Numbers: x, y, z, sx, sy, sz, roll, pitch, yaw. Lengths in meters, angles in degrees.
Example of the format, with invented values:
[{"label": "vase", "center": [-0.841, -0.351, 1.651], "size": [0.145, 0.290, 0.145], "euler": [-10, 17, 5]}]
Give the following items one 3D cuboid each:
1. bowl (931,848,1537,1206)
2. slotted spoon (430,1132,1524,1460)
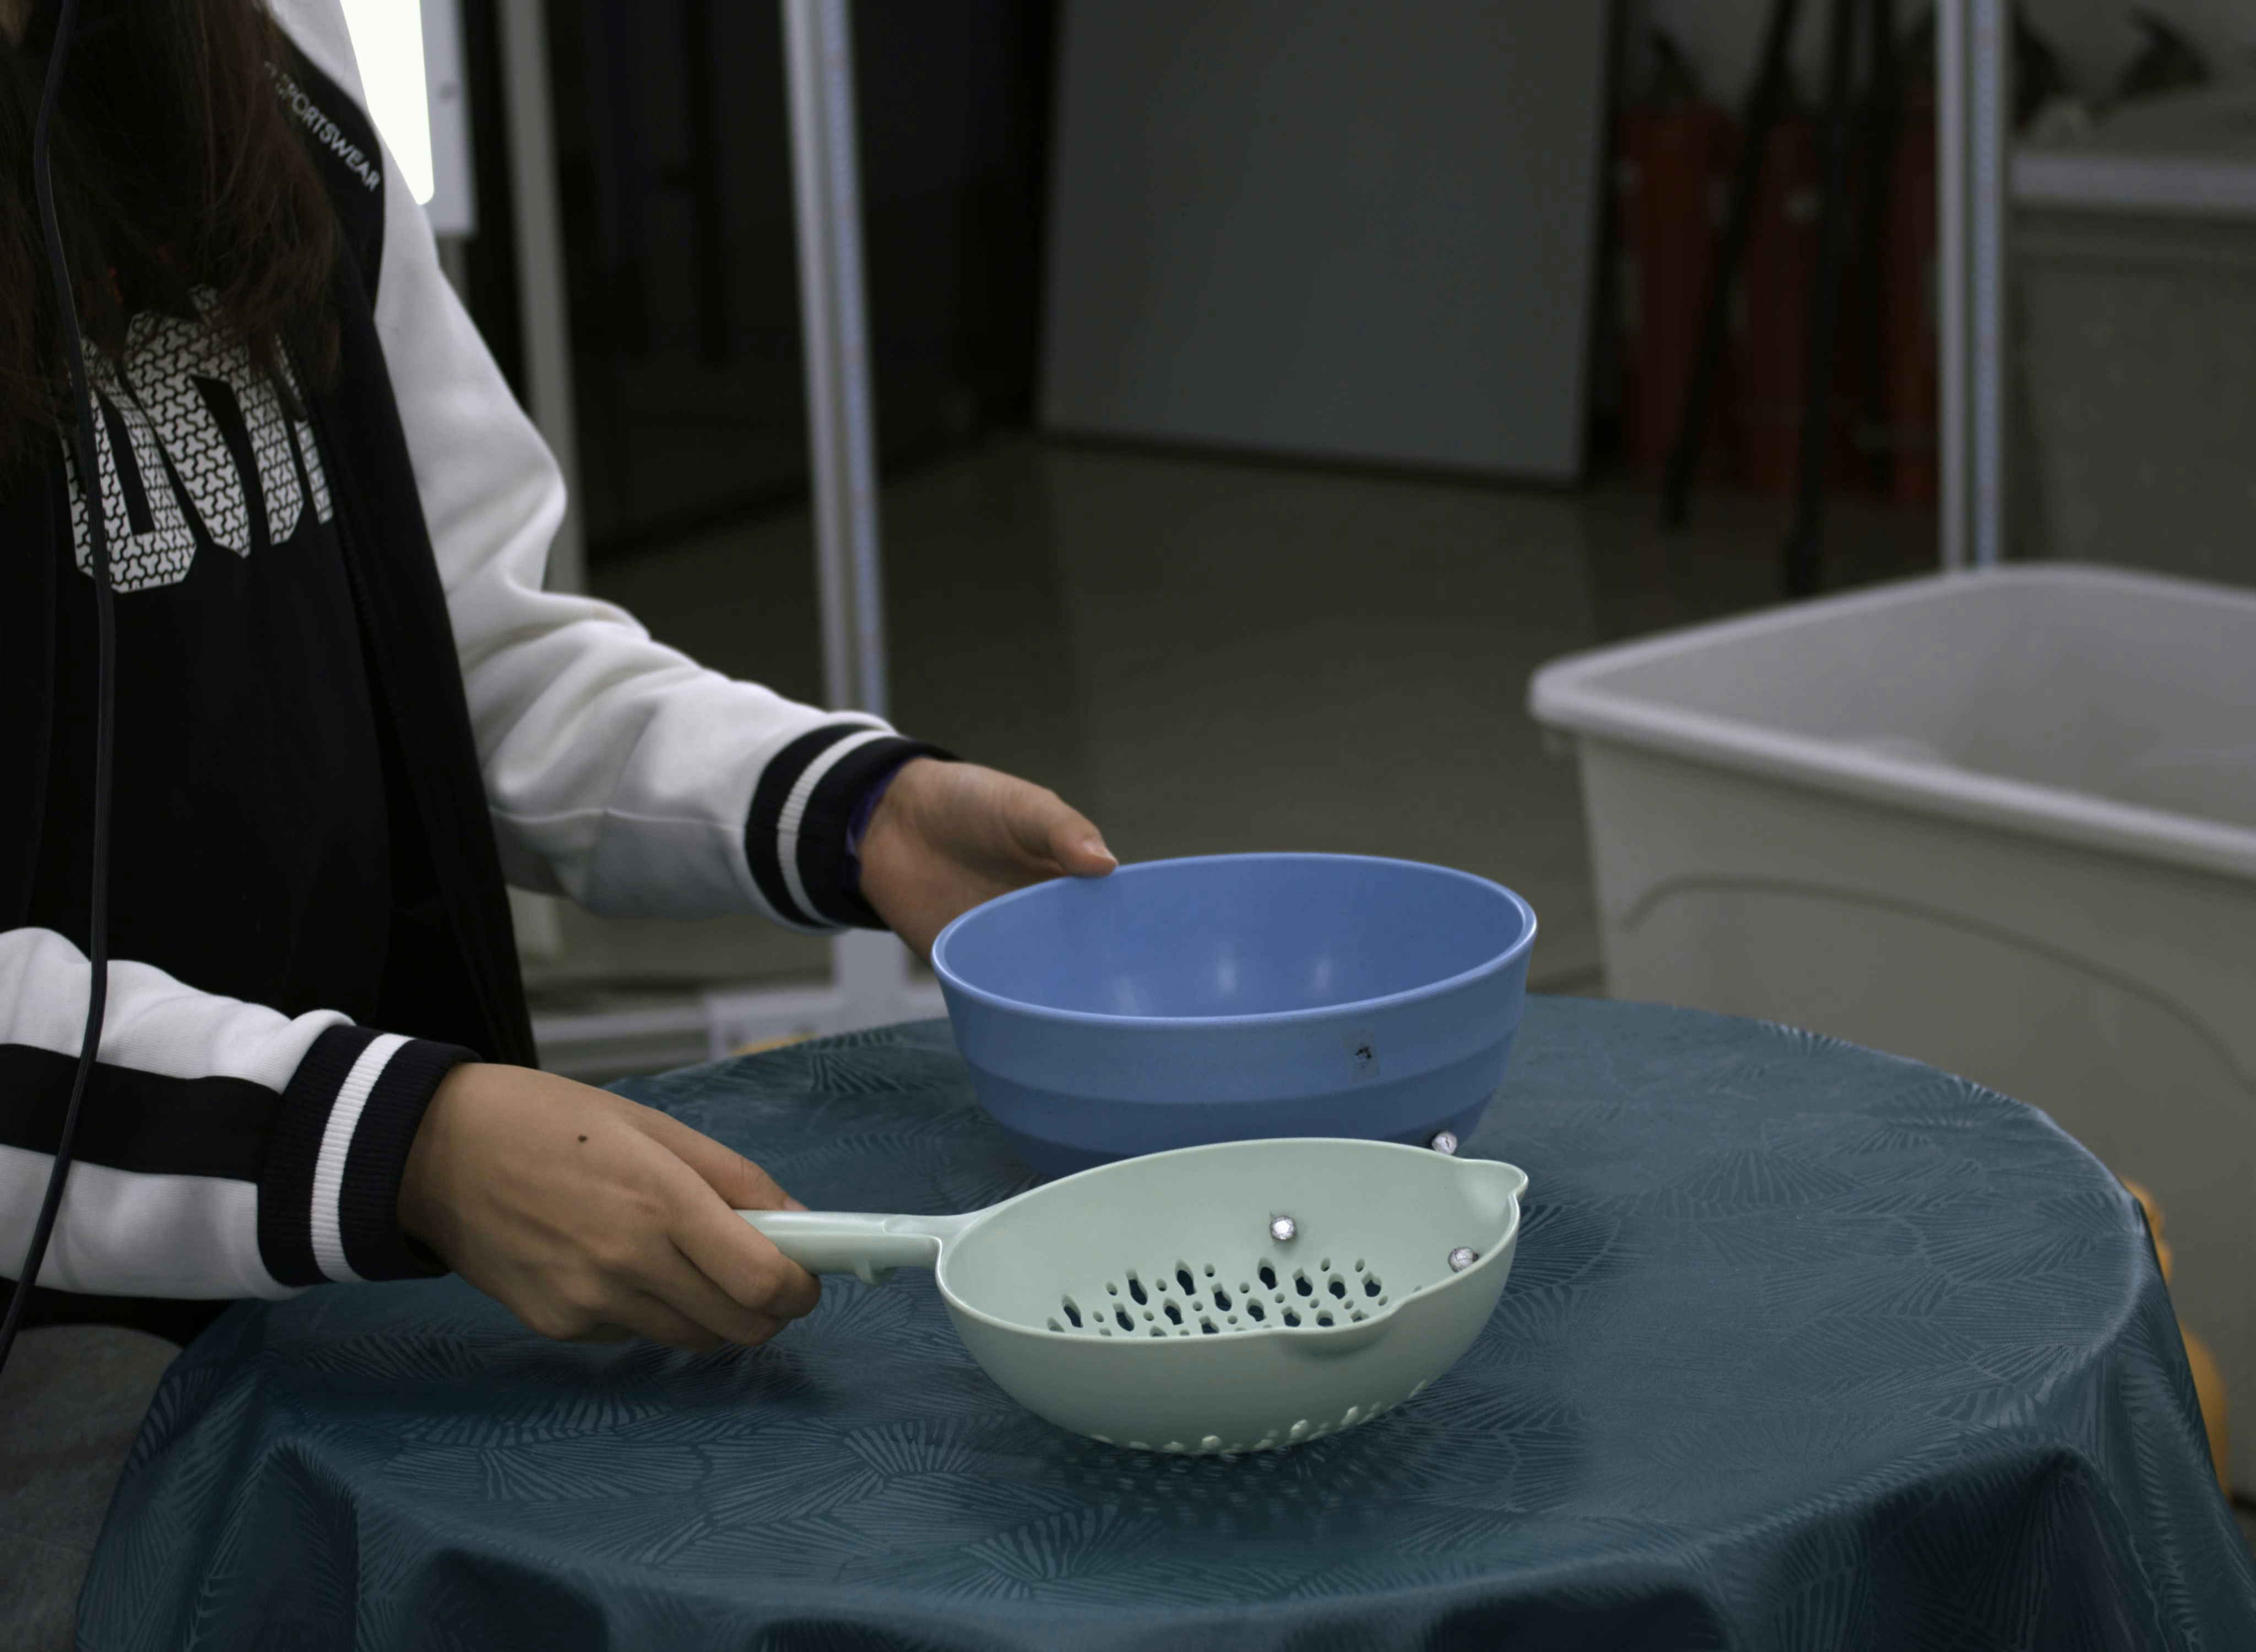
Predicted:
[{"label": "bowl", "center": [0.037, 0.078, 1.734], "size": [0.194, 0.096, 0.197], "euler": [-4, 14, 0]}, {"label": "slotted spoon", "center": [-0.056, 0.132, 1.591], "size": [0.359, 0.076, 0.167], "euler": [6, 18, 26]}]
